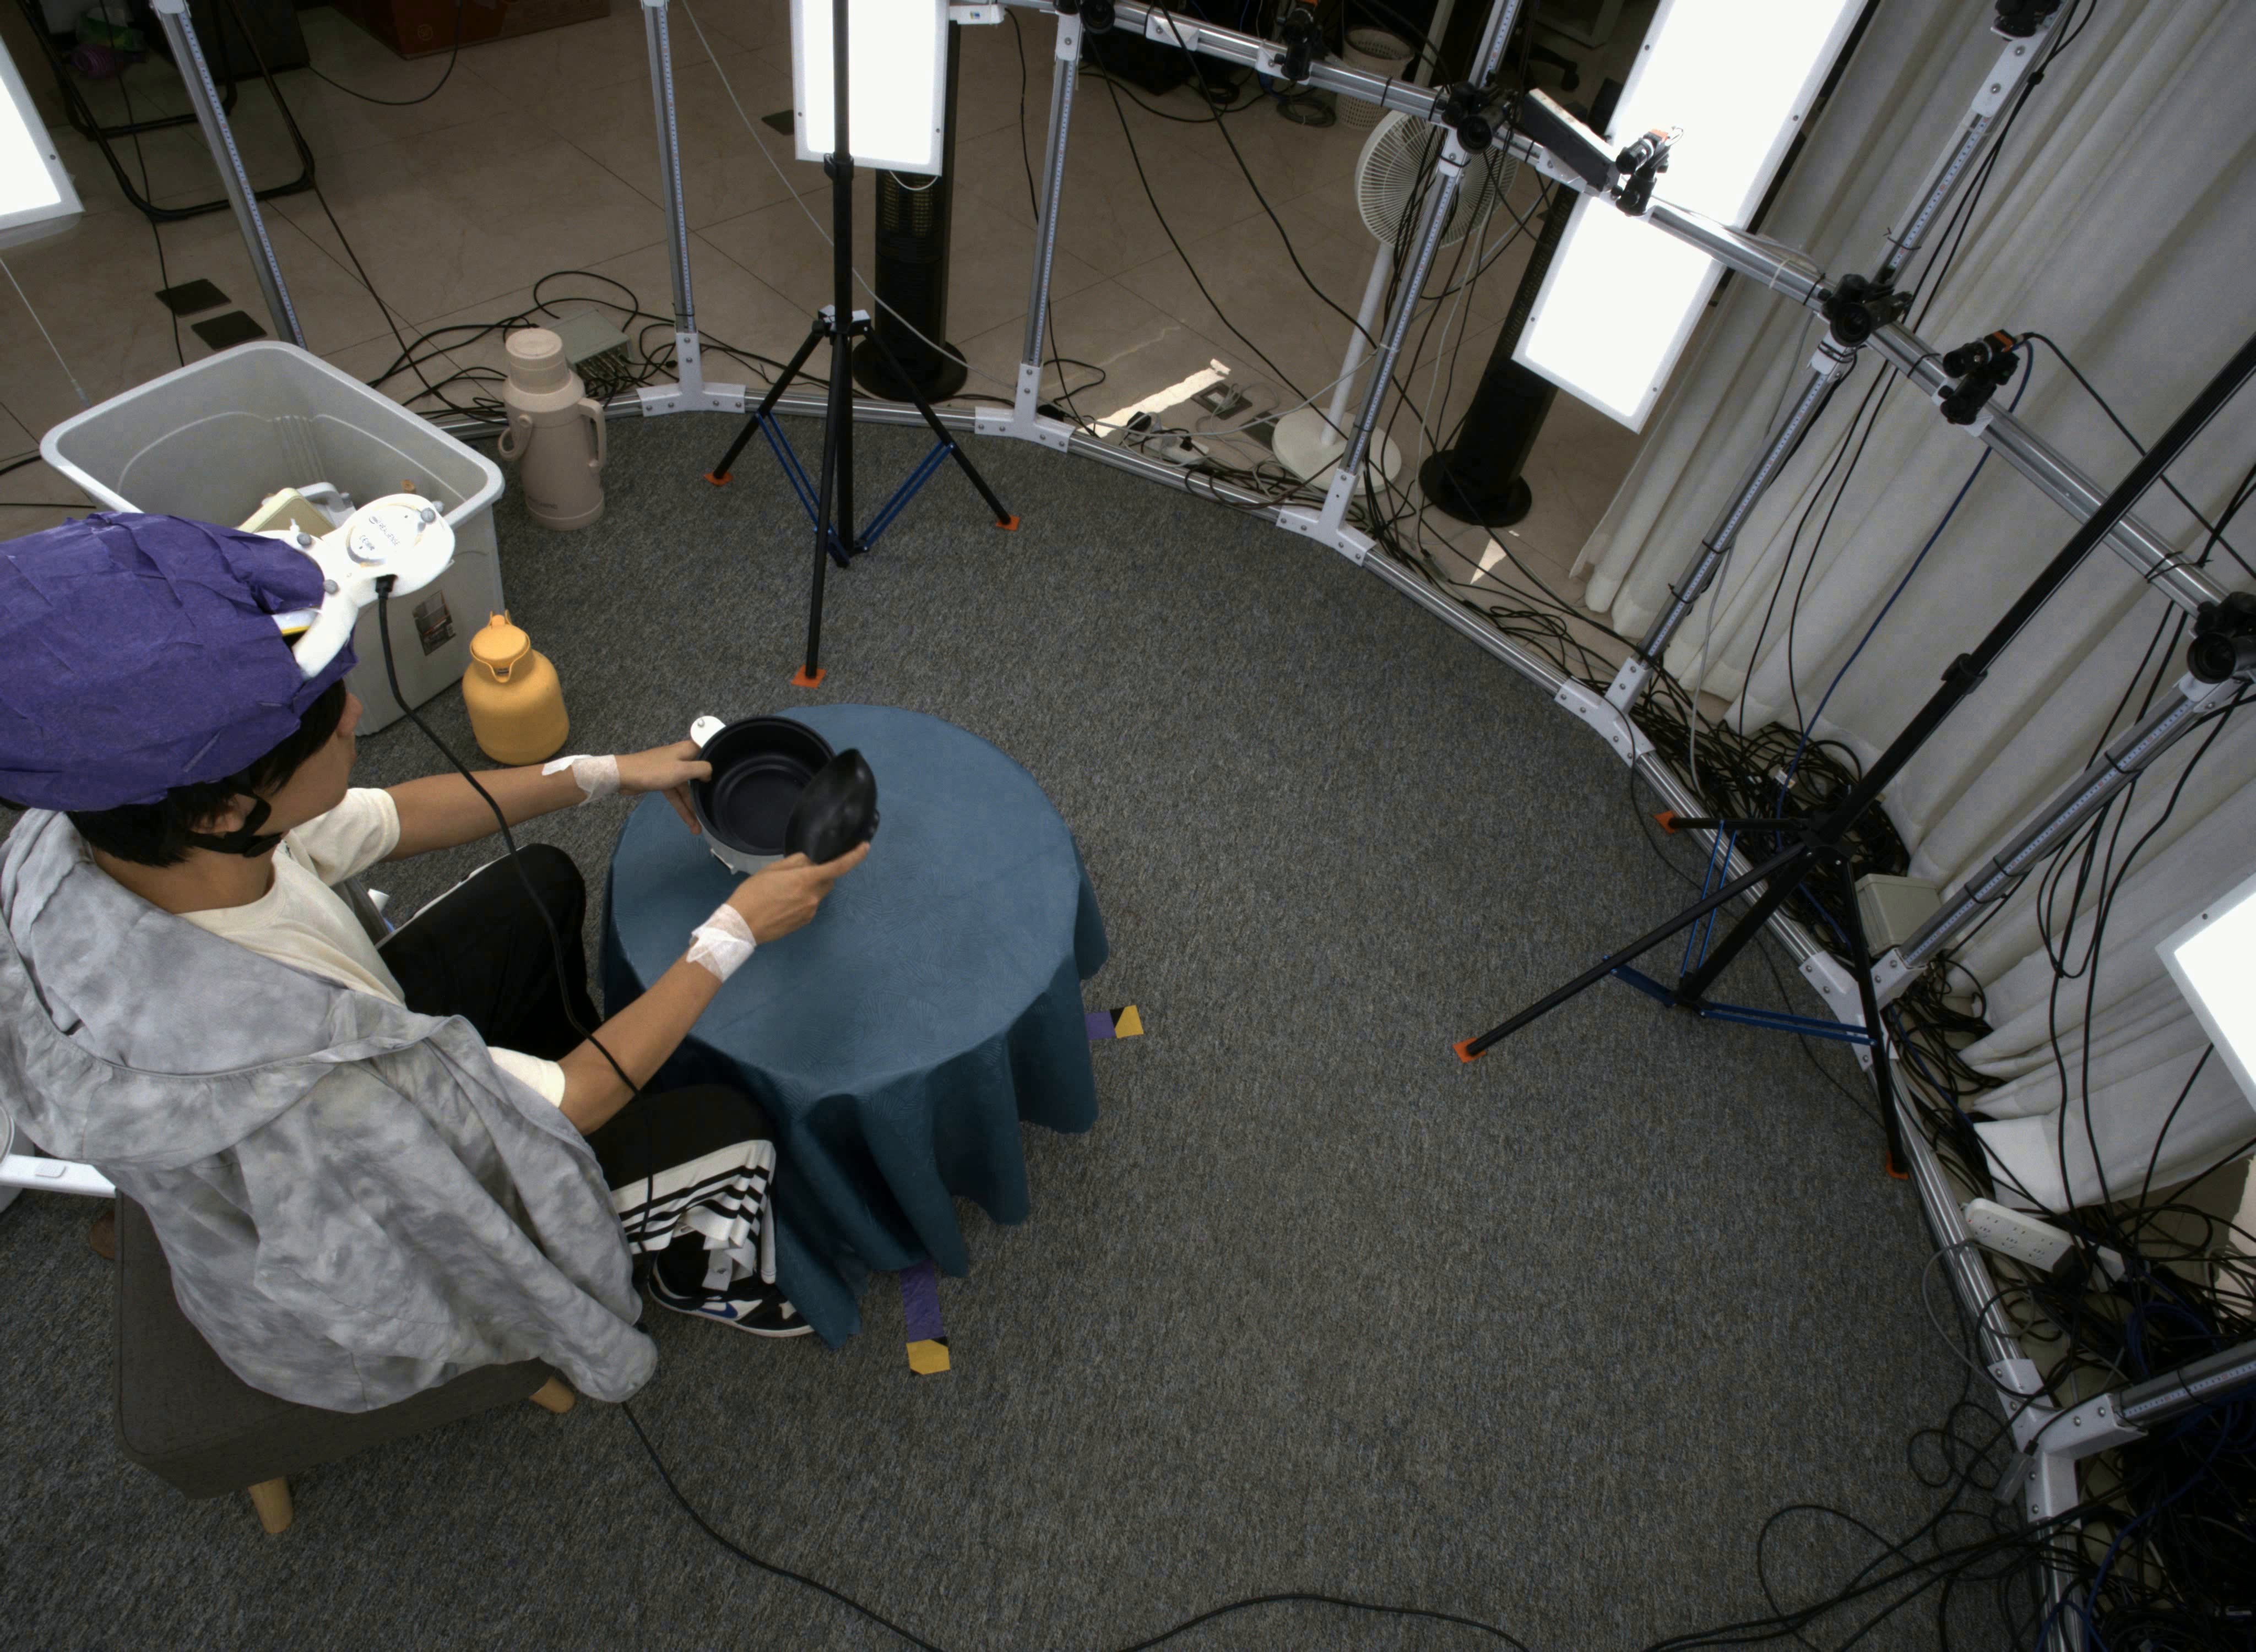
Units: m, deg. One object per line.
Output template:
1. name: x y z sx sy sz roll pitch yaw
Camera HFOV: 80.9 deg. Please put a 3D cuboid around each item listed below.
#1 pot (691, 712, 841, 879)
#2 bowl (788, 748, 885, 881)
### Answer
1. pot: -0.439 -0.035 1.614 0.240 0.143 0.190 41 71 0
2. bowl: -0.320 -0.007 1.475 0.069 0.136 0.167 35 39 -33
